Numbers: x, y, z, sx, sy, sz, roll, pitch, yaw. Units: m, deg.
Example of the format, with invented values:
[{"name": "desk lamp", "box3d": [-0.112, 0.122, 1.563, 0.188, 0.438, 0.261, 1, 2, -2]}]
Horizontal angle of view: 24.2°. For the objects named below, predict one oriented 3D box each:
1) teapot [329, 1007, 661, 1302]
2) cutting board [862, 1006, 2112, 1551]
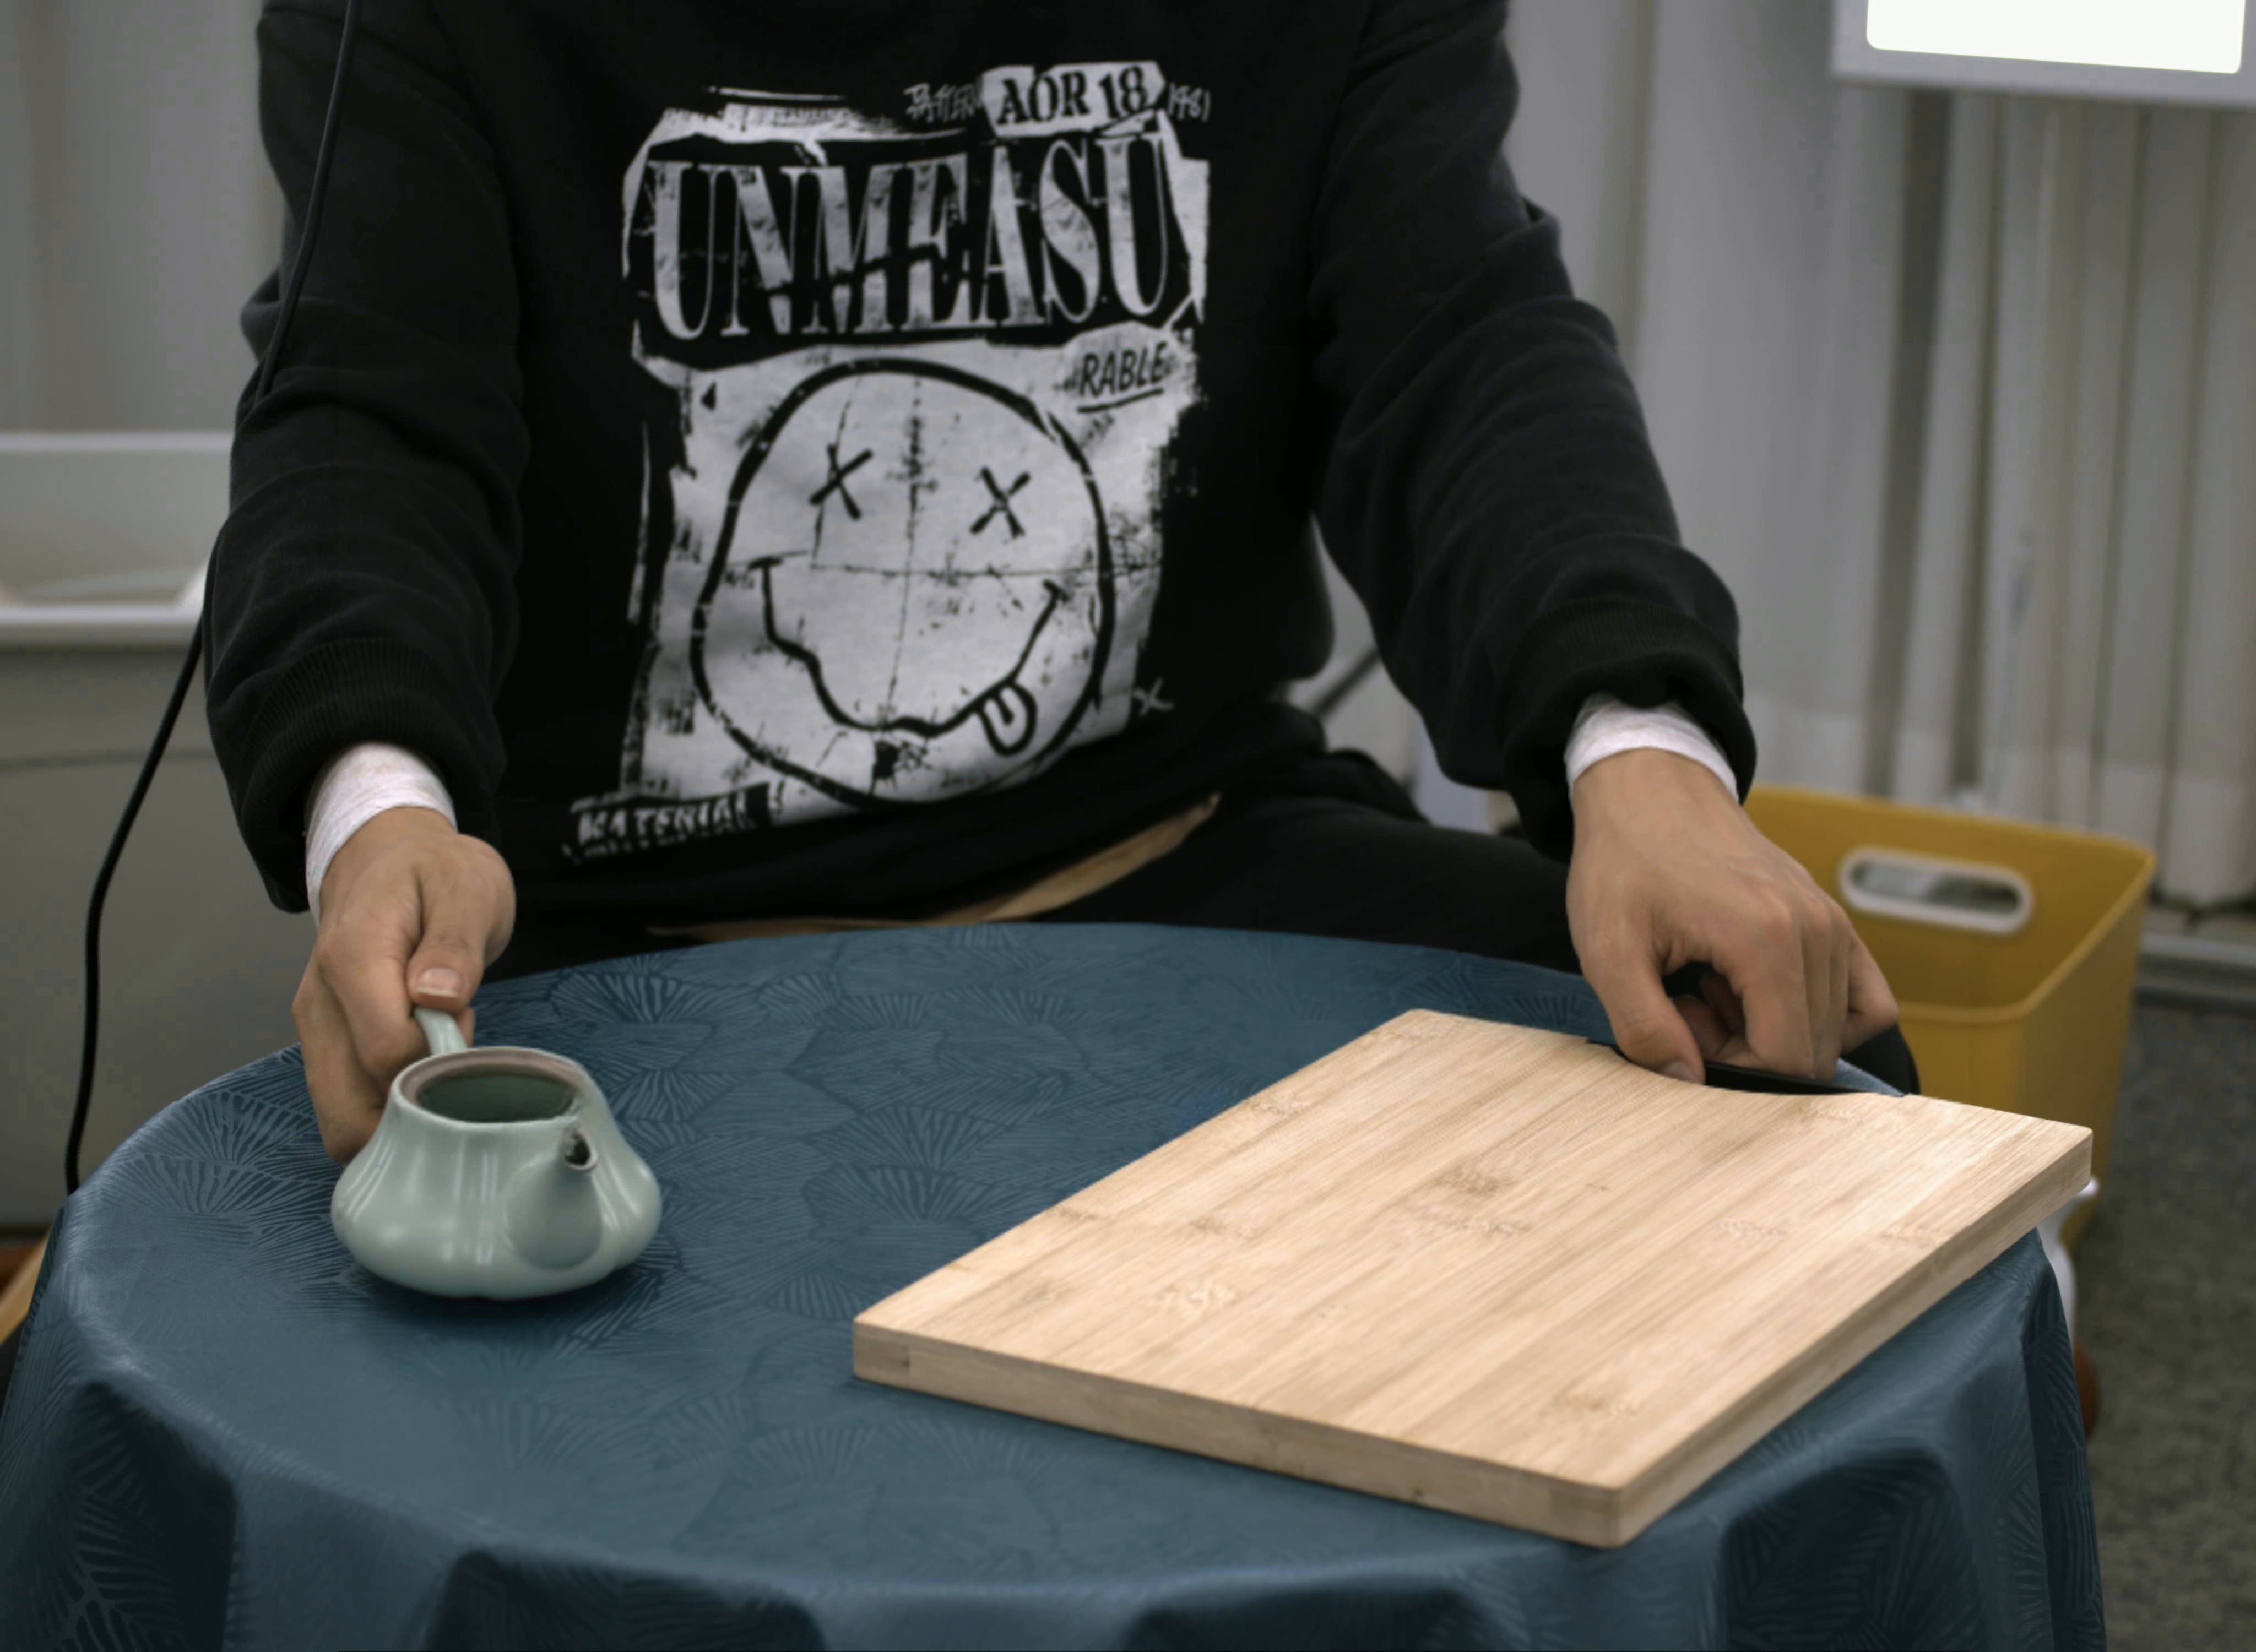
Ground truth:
[{"name": "teapot", "box3d": [-0.187, 0.099, 1.543, 0.096, 0.062, 0.135, -11, 24, -30]}, {"name": "cutting board", "box3d": [0.114, 0.123, 1.556, 0.248, 0.024, 0.350, 9, 18, 28]}]
